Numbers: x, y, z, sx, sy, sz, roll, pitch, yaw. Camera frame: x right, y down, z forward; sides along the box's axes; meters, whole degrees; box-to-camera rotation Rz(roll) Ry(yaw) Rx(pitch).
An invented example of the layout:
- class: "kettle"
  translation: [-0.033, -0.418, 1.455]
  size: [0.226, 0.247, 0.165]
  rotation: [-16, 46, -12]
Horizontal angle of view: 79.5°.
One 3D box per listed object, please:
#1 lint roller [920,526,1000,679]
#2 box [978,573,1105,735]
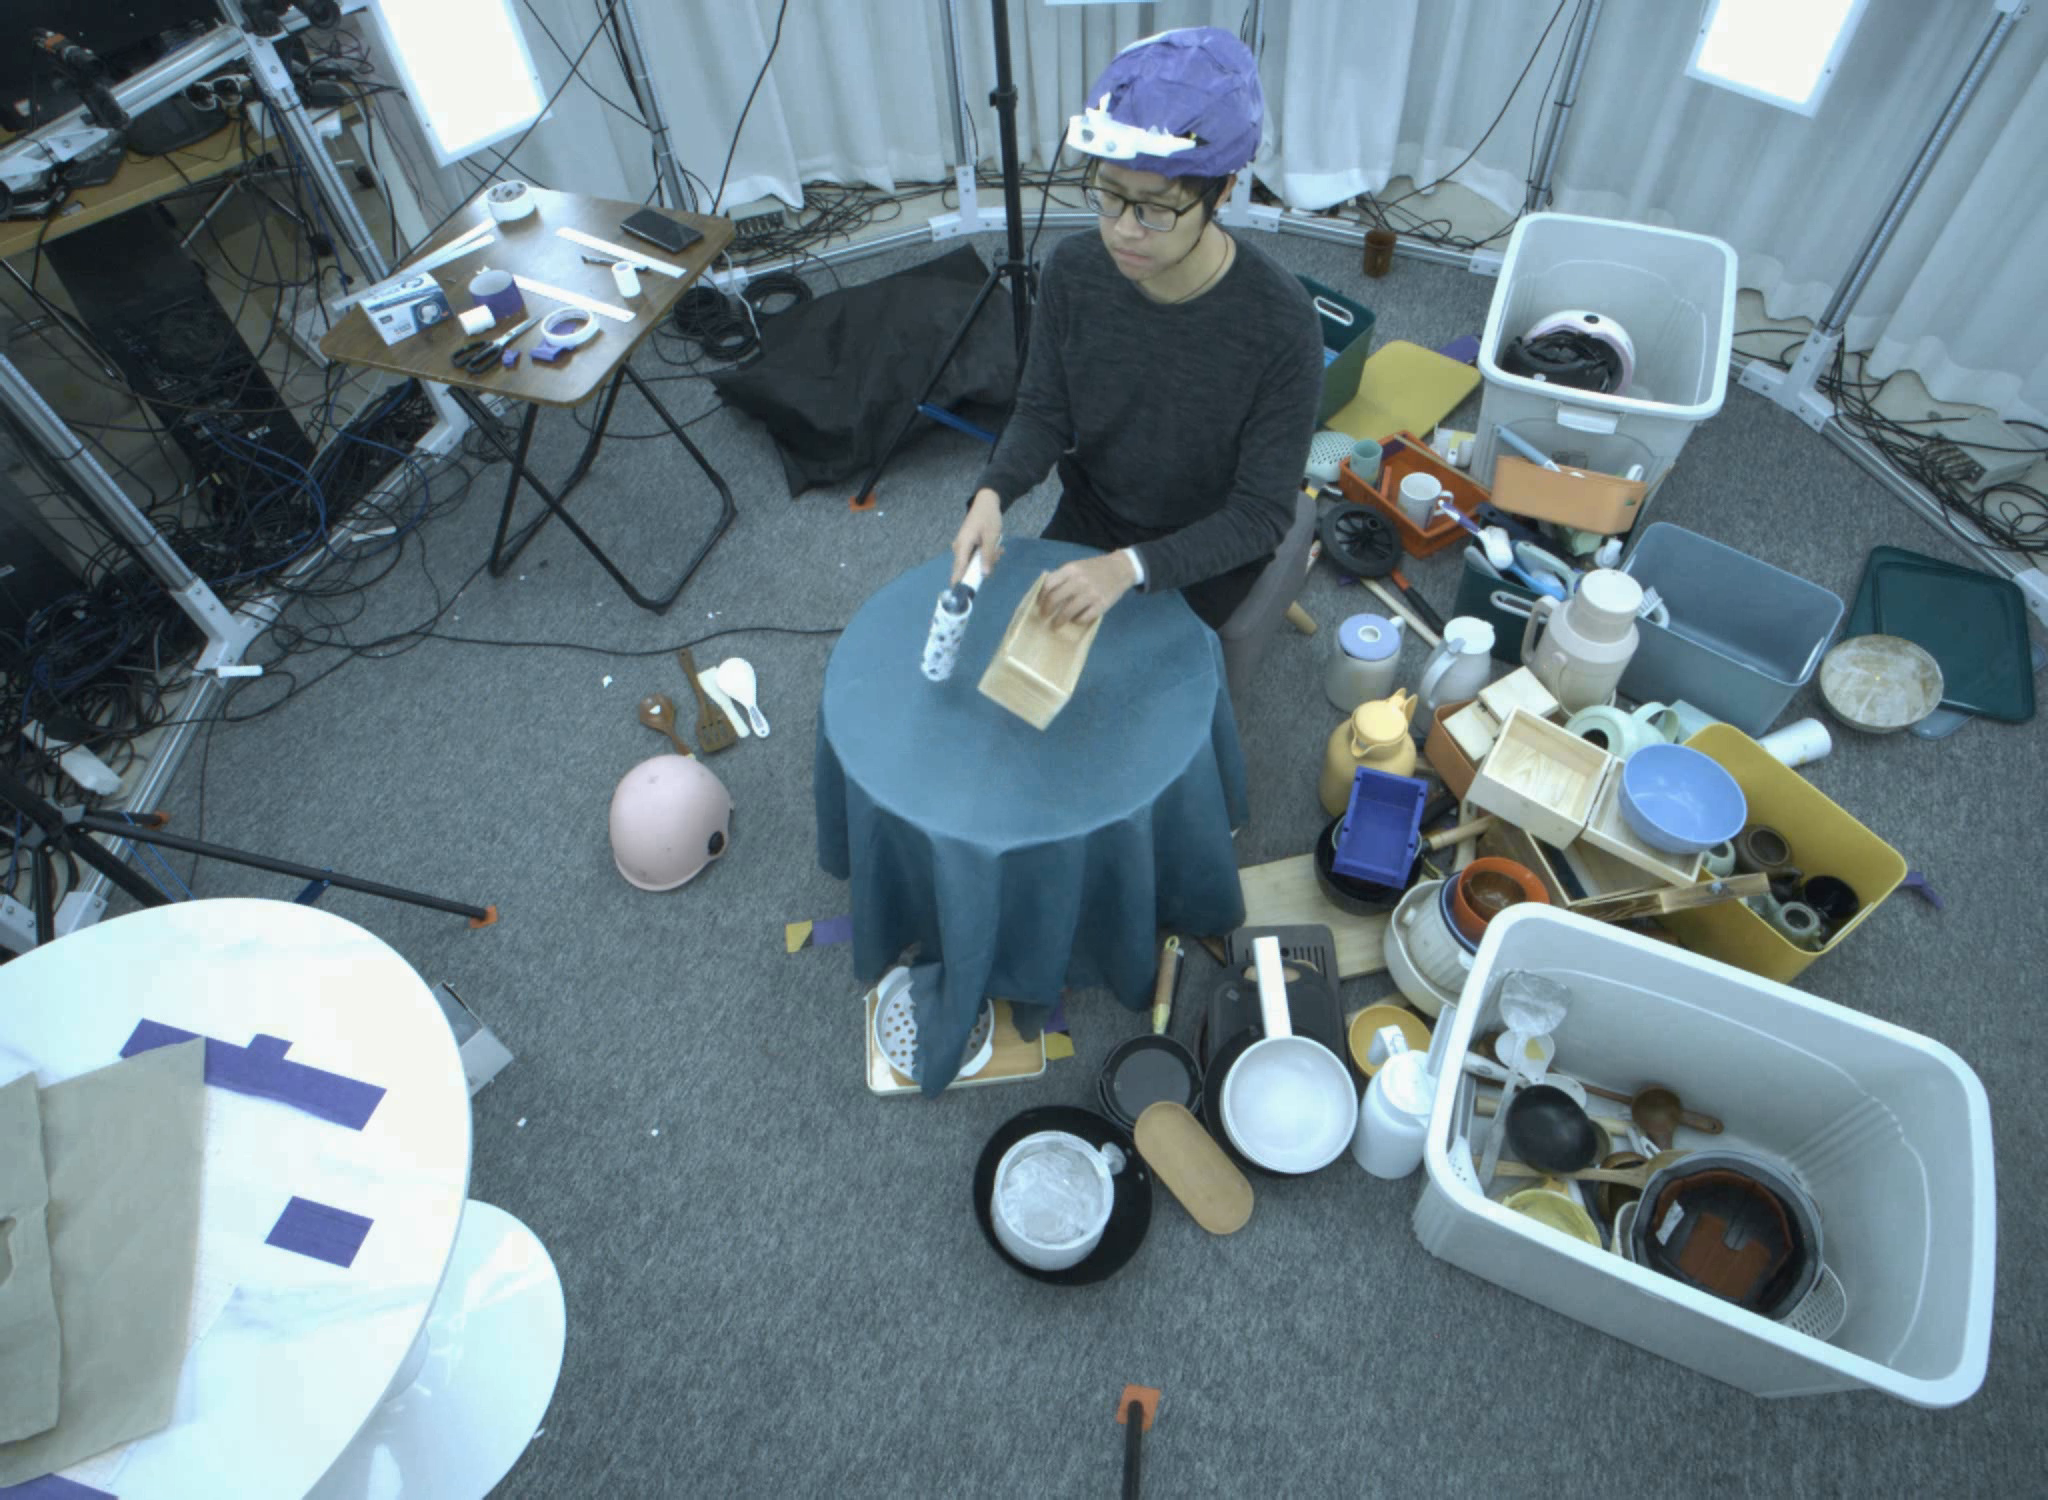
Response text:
- class: "lint roller"
  translation: [-0.092, -0.242, 1.813]
  size: [0.050, 0.176, 0.246]
  rotation: [19, 58, -1]
- class: "box"
  translation: [0.027, -0.135, 1.693]
  size: [0.108, 0.080, 0.211]
  rotation: [32, 42, -11]
